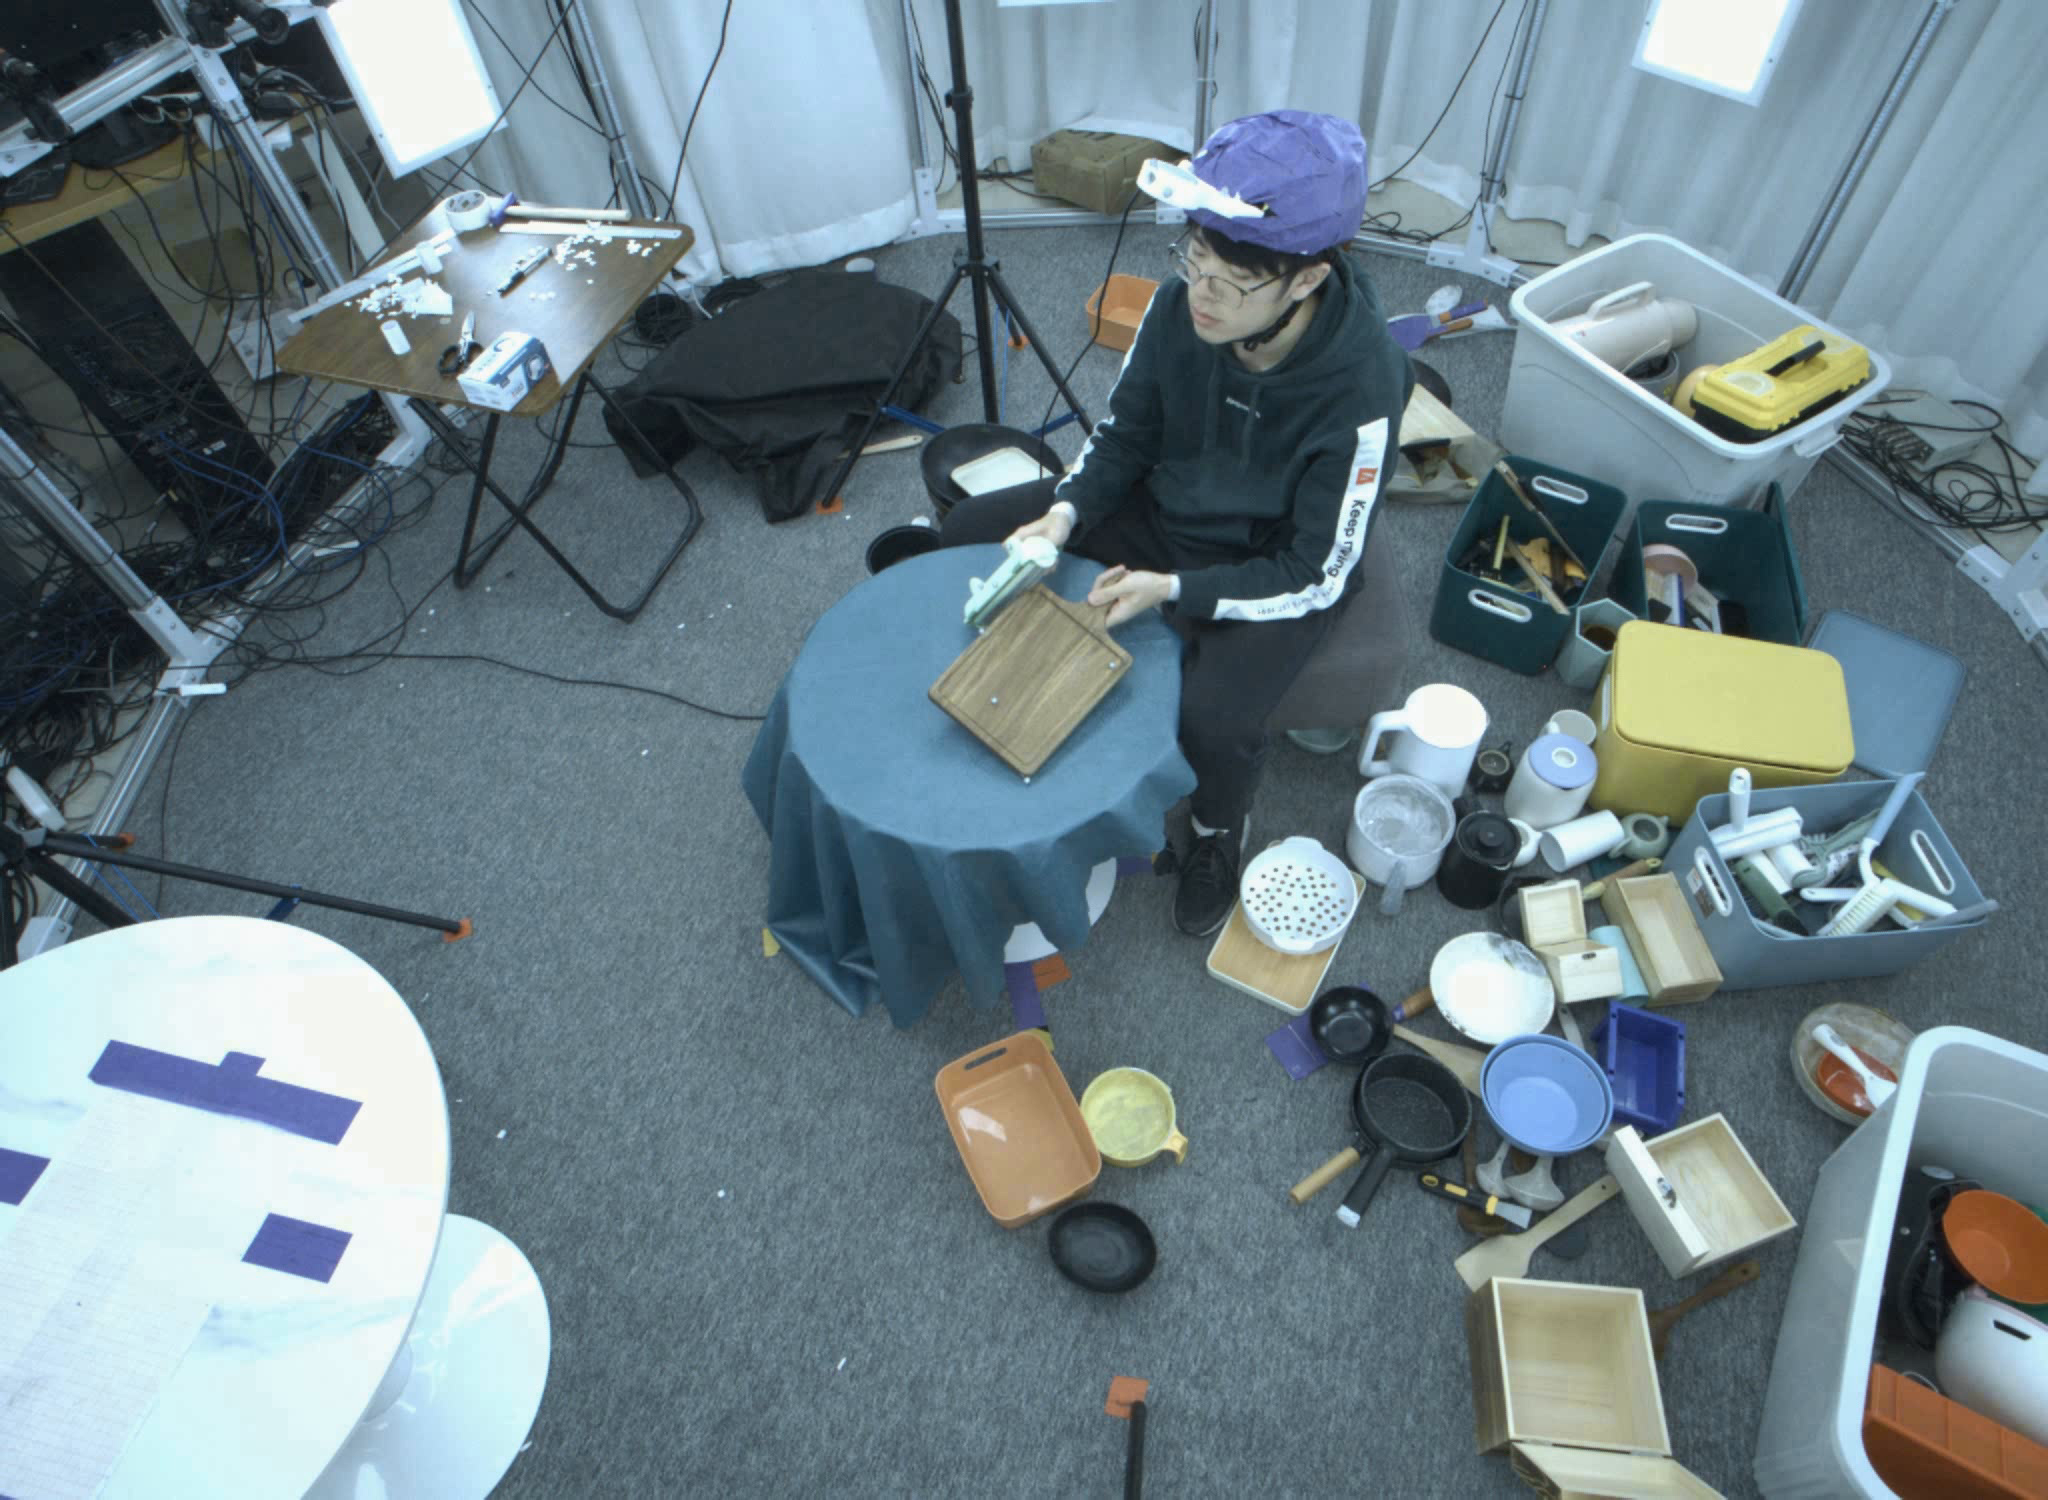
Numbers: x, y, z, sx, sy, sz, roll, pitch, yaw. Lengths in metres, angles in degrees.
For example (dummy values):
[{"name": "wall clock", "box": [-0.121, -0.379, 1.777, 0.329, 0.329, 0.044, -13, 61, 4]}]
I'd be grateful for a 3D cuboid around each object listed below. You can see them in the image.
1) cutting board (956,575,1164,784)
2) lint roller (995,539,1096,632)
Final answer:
[{"name": "cutting board", "box": [0.087, -0.134, 1.803, 0.200, 0.023, 0.353, 41, 72, 6]}, {"name": "lint roller", "box": [0.043, -0.284, 1.874, 0.083, 0.196, 0.184, 41, 50, -8]}]
